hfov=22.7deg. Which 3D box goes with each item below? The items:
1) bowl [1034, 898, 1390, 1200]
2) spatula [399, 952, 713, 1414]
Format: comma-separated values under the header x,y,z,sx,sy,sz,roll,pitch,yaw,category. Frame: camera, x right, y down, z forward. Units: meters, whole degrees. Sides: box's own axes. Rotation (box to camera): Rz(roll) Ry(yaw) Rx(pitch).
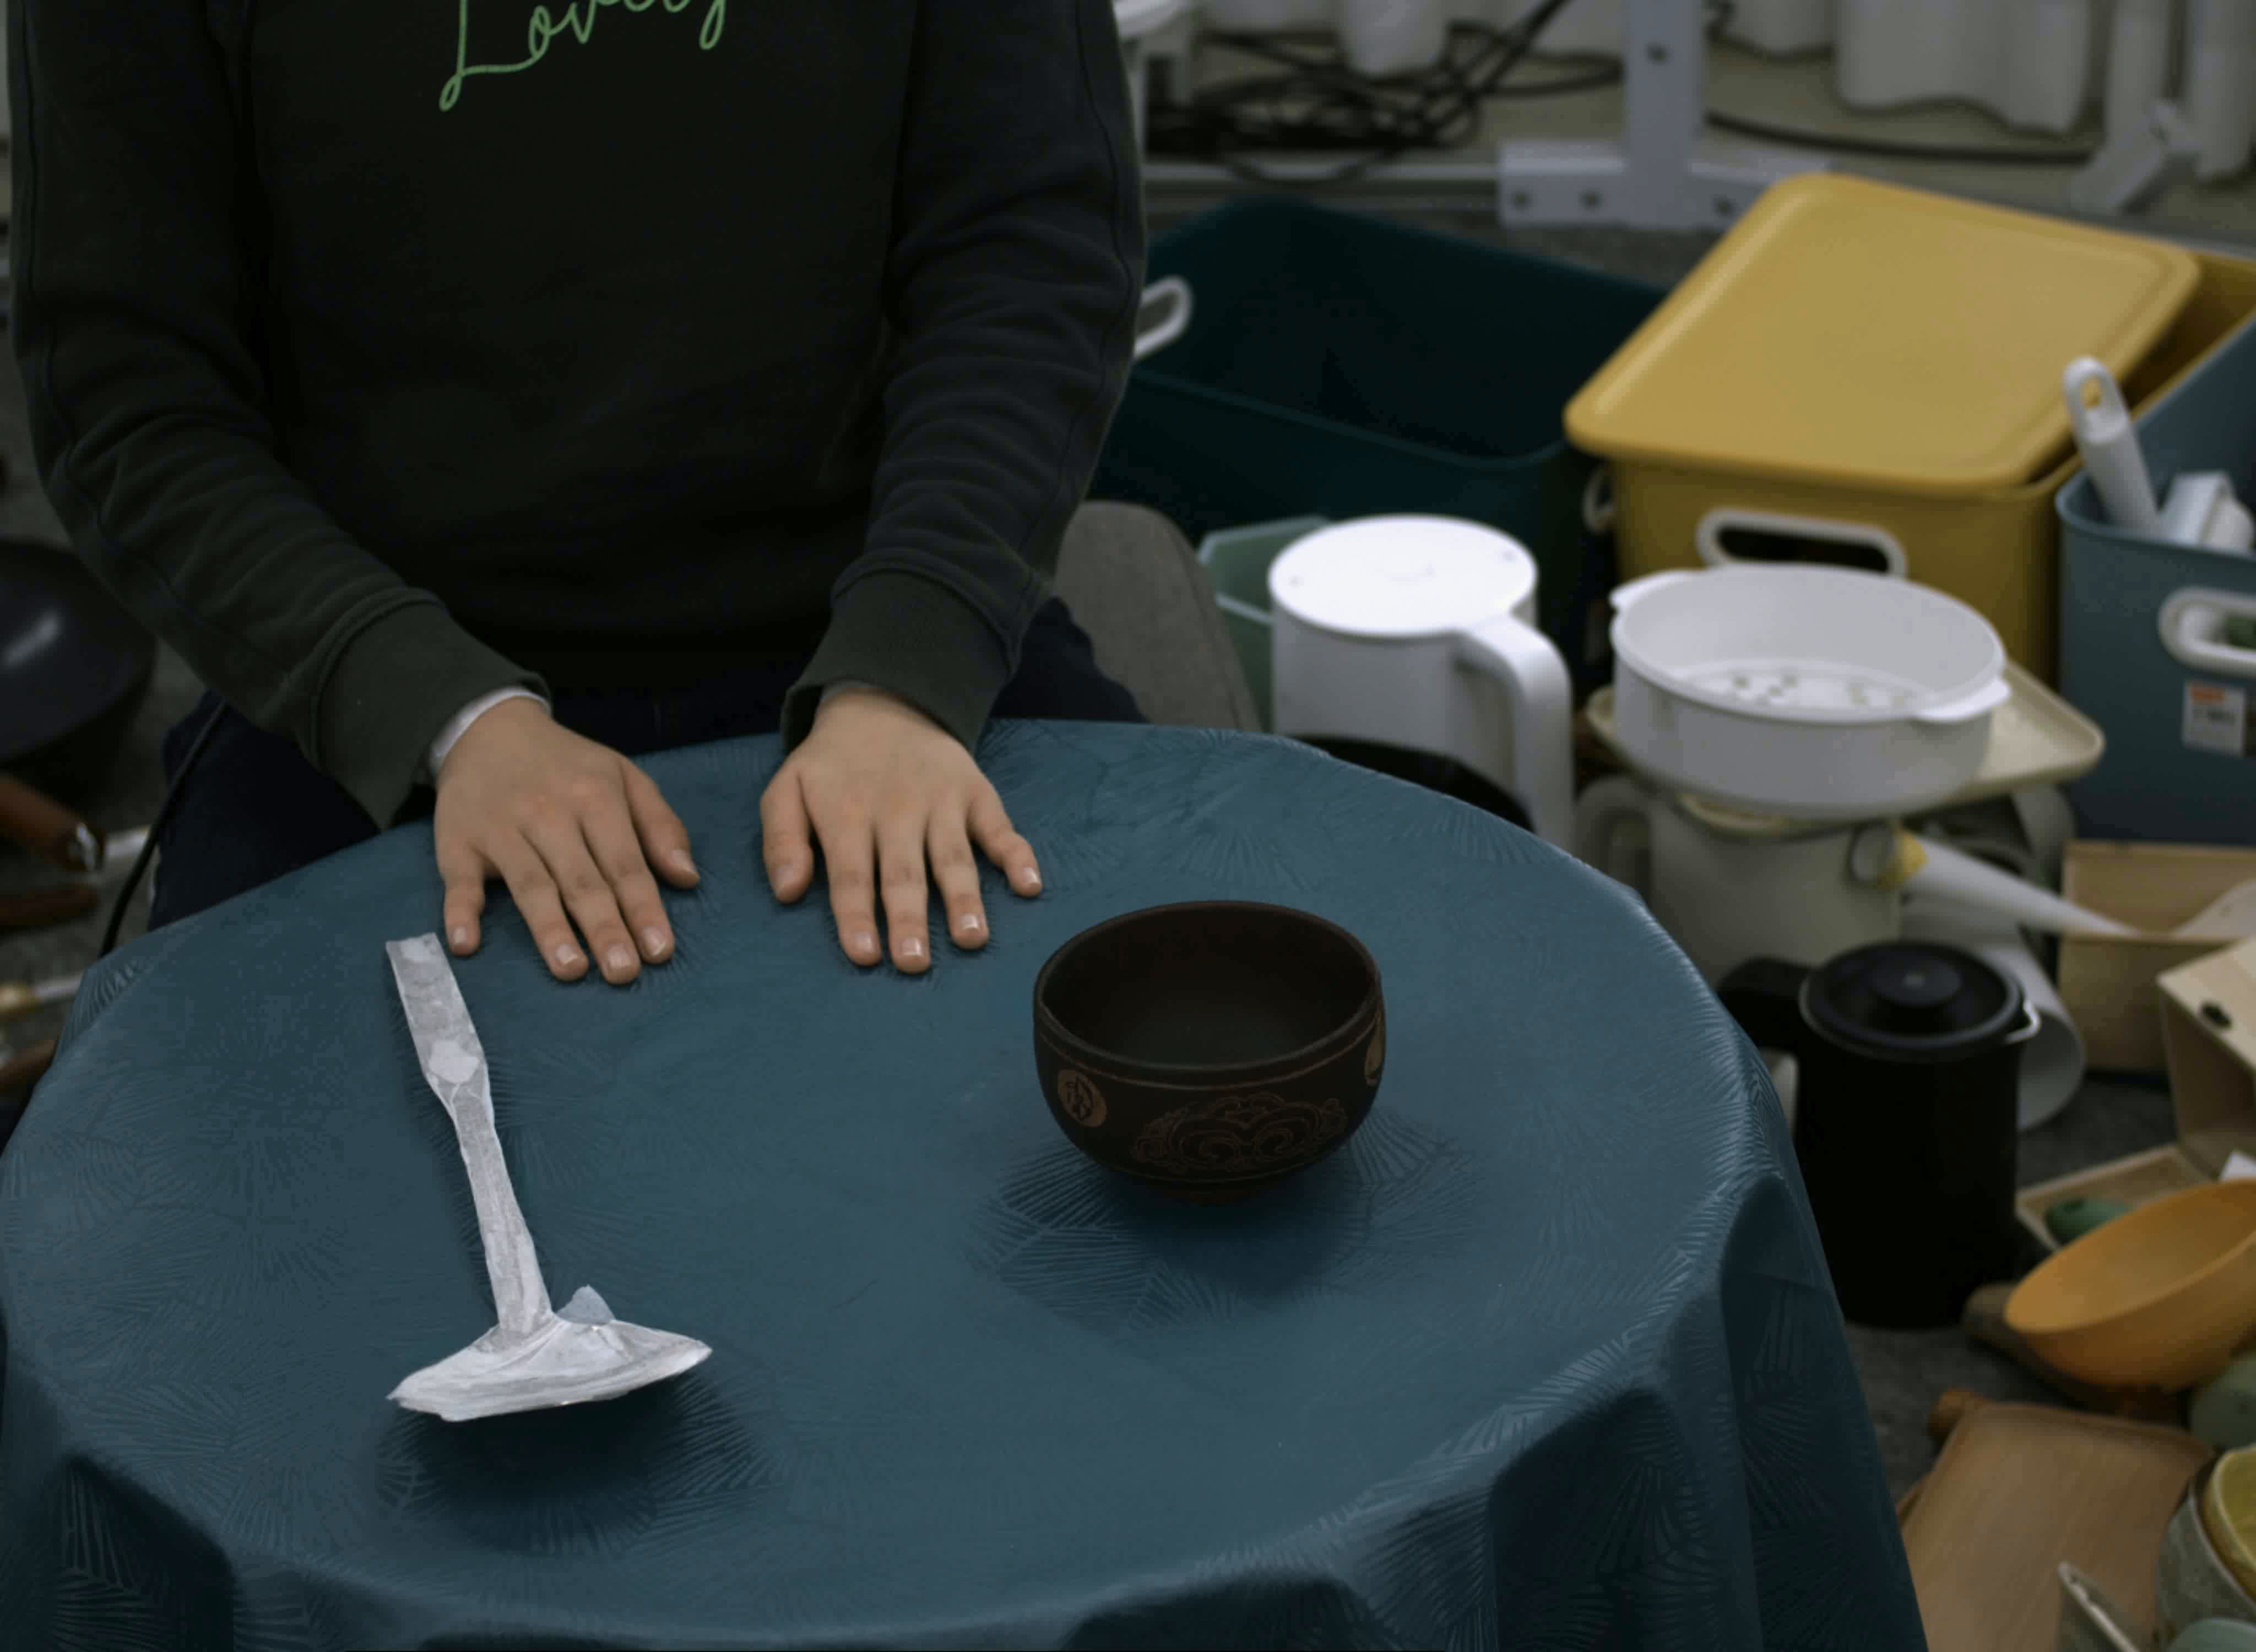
x,y,z,sx,sy,sz,roll,pitch,yaw,category
0.028,0.080,1.861,0.117,0.069,0.120,-1,26,1,bowl
-0.209,0.110,1.862,0.098,0.044,0.369,-10,28,-9,spatula
